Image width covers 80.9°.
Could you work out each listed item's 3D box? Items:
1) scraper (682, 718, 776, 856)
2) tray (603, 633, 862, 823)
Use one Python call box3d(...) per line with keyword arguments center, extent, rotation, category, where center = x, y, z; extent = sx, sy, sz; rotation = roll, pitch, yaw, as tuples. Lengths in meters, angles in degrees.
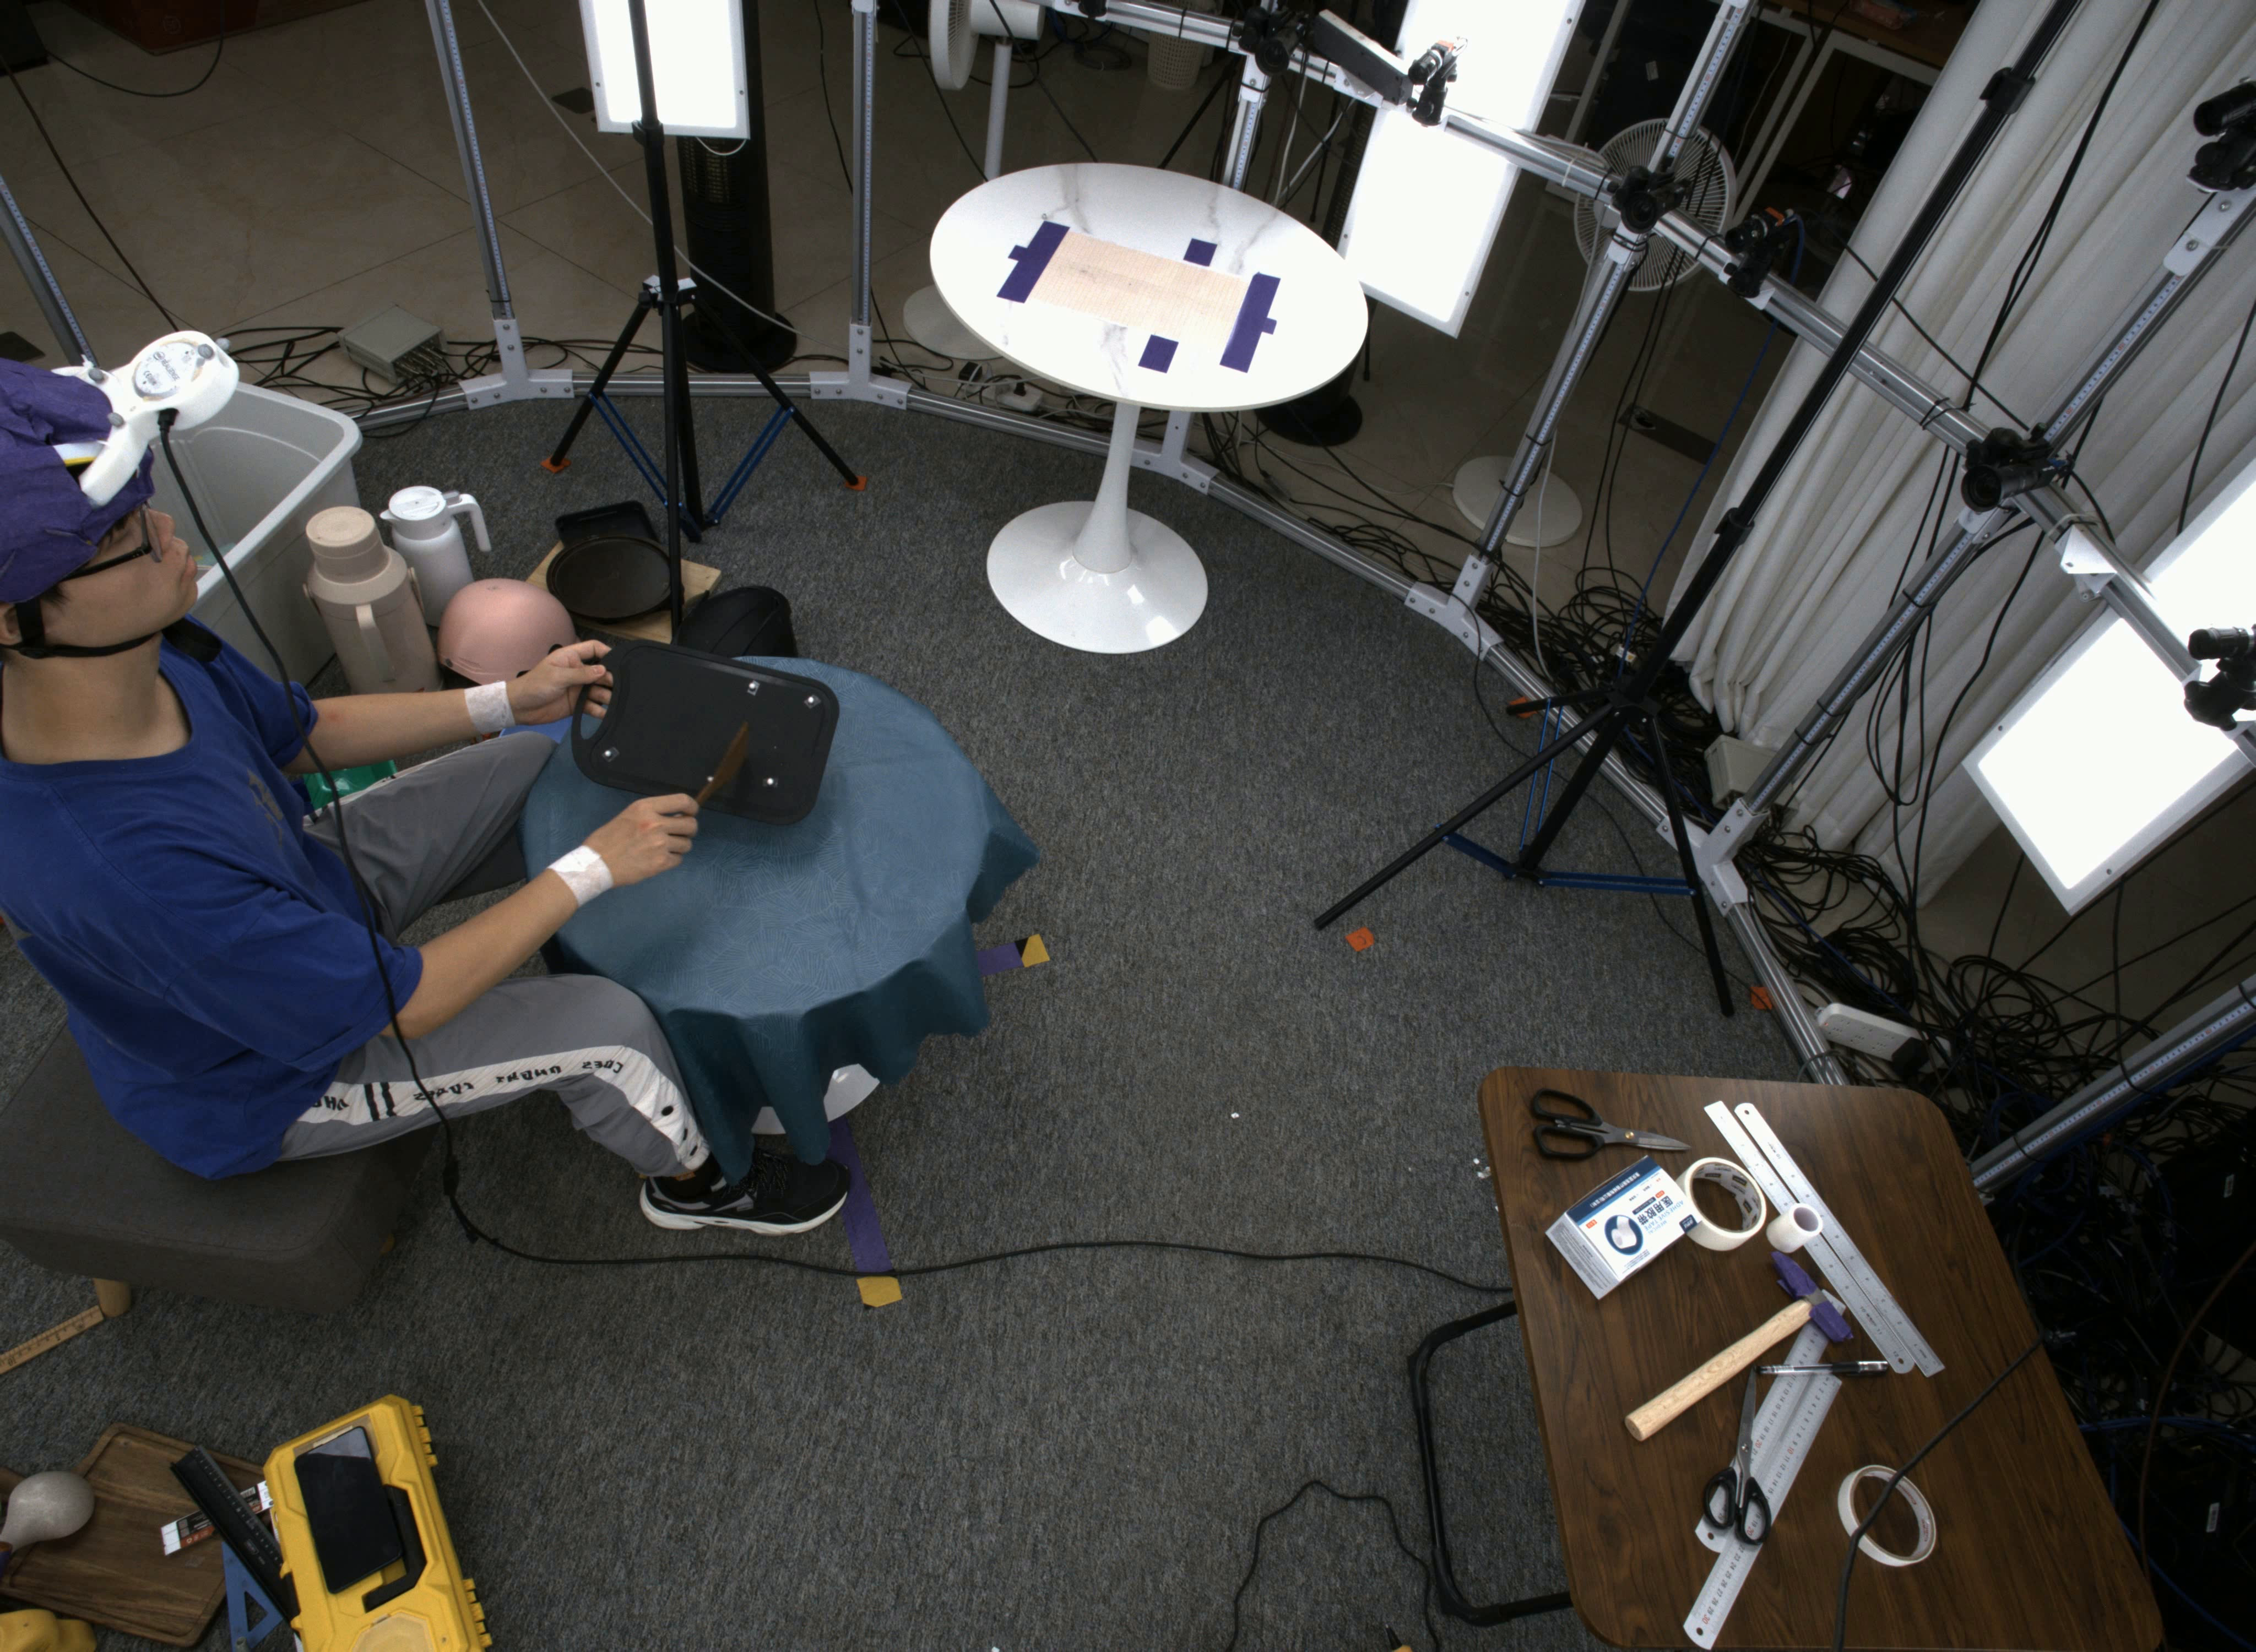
box3d(center=(-0.486, -0.045, 1.584), extent=(0.011, 0.077, 0.210), rotation=(28, 53, 1), category="scraper")
box3d(center=(-0.520, -0.131, 1.669), extent=(0.326, 0.010, 0.210), rotation=(15, 70, -10), category="tray")
